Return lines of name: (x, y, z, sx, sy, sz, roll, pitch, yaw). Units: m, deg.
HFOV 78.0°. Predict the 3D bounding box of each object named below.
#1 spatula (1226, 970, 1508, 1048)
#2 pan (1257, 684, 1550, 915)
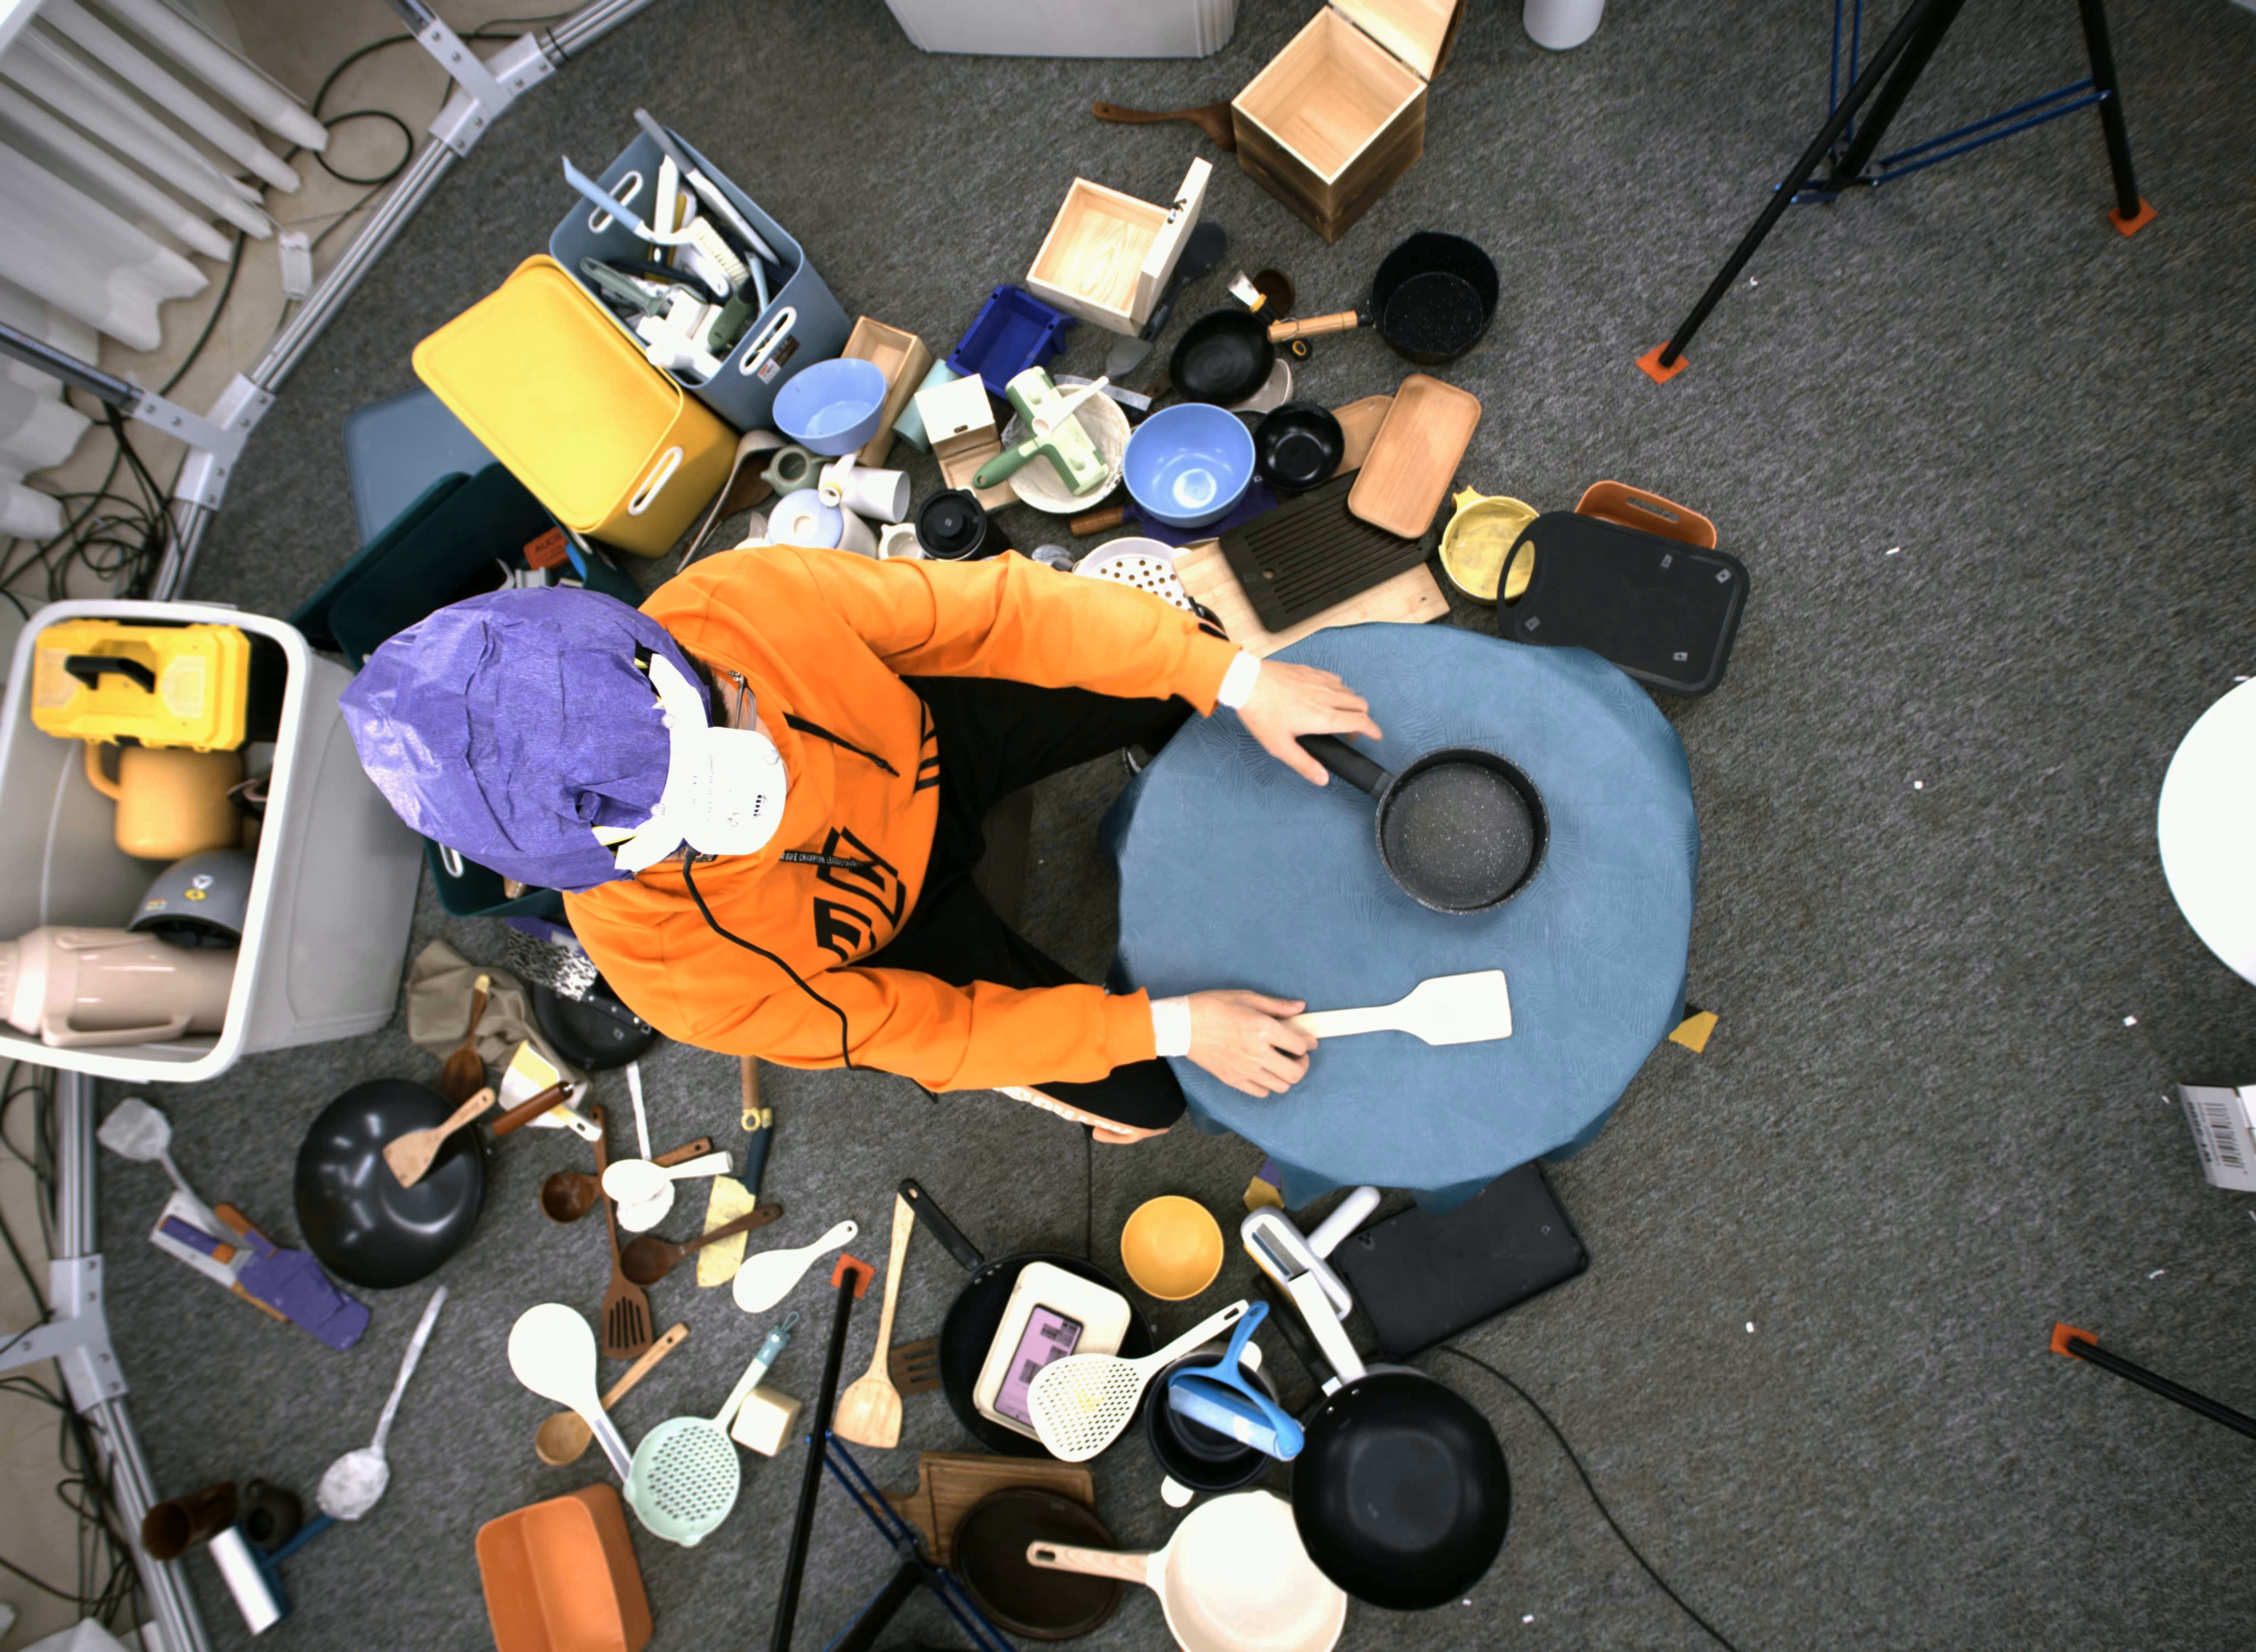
spatula: (0.248, 0.203, 1.452, 0.294, 0.010, 0.072, -9, 88, 10)
pan: (0.276, -0.039, 1.422, 0.328, 0.086, 0.172, 35, 92, 9)
